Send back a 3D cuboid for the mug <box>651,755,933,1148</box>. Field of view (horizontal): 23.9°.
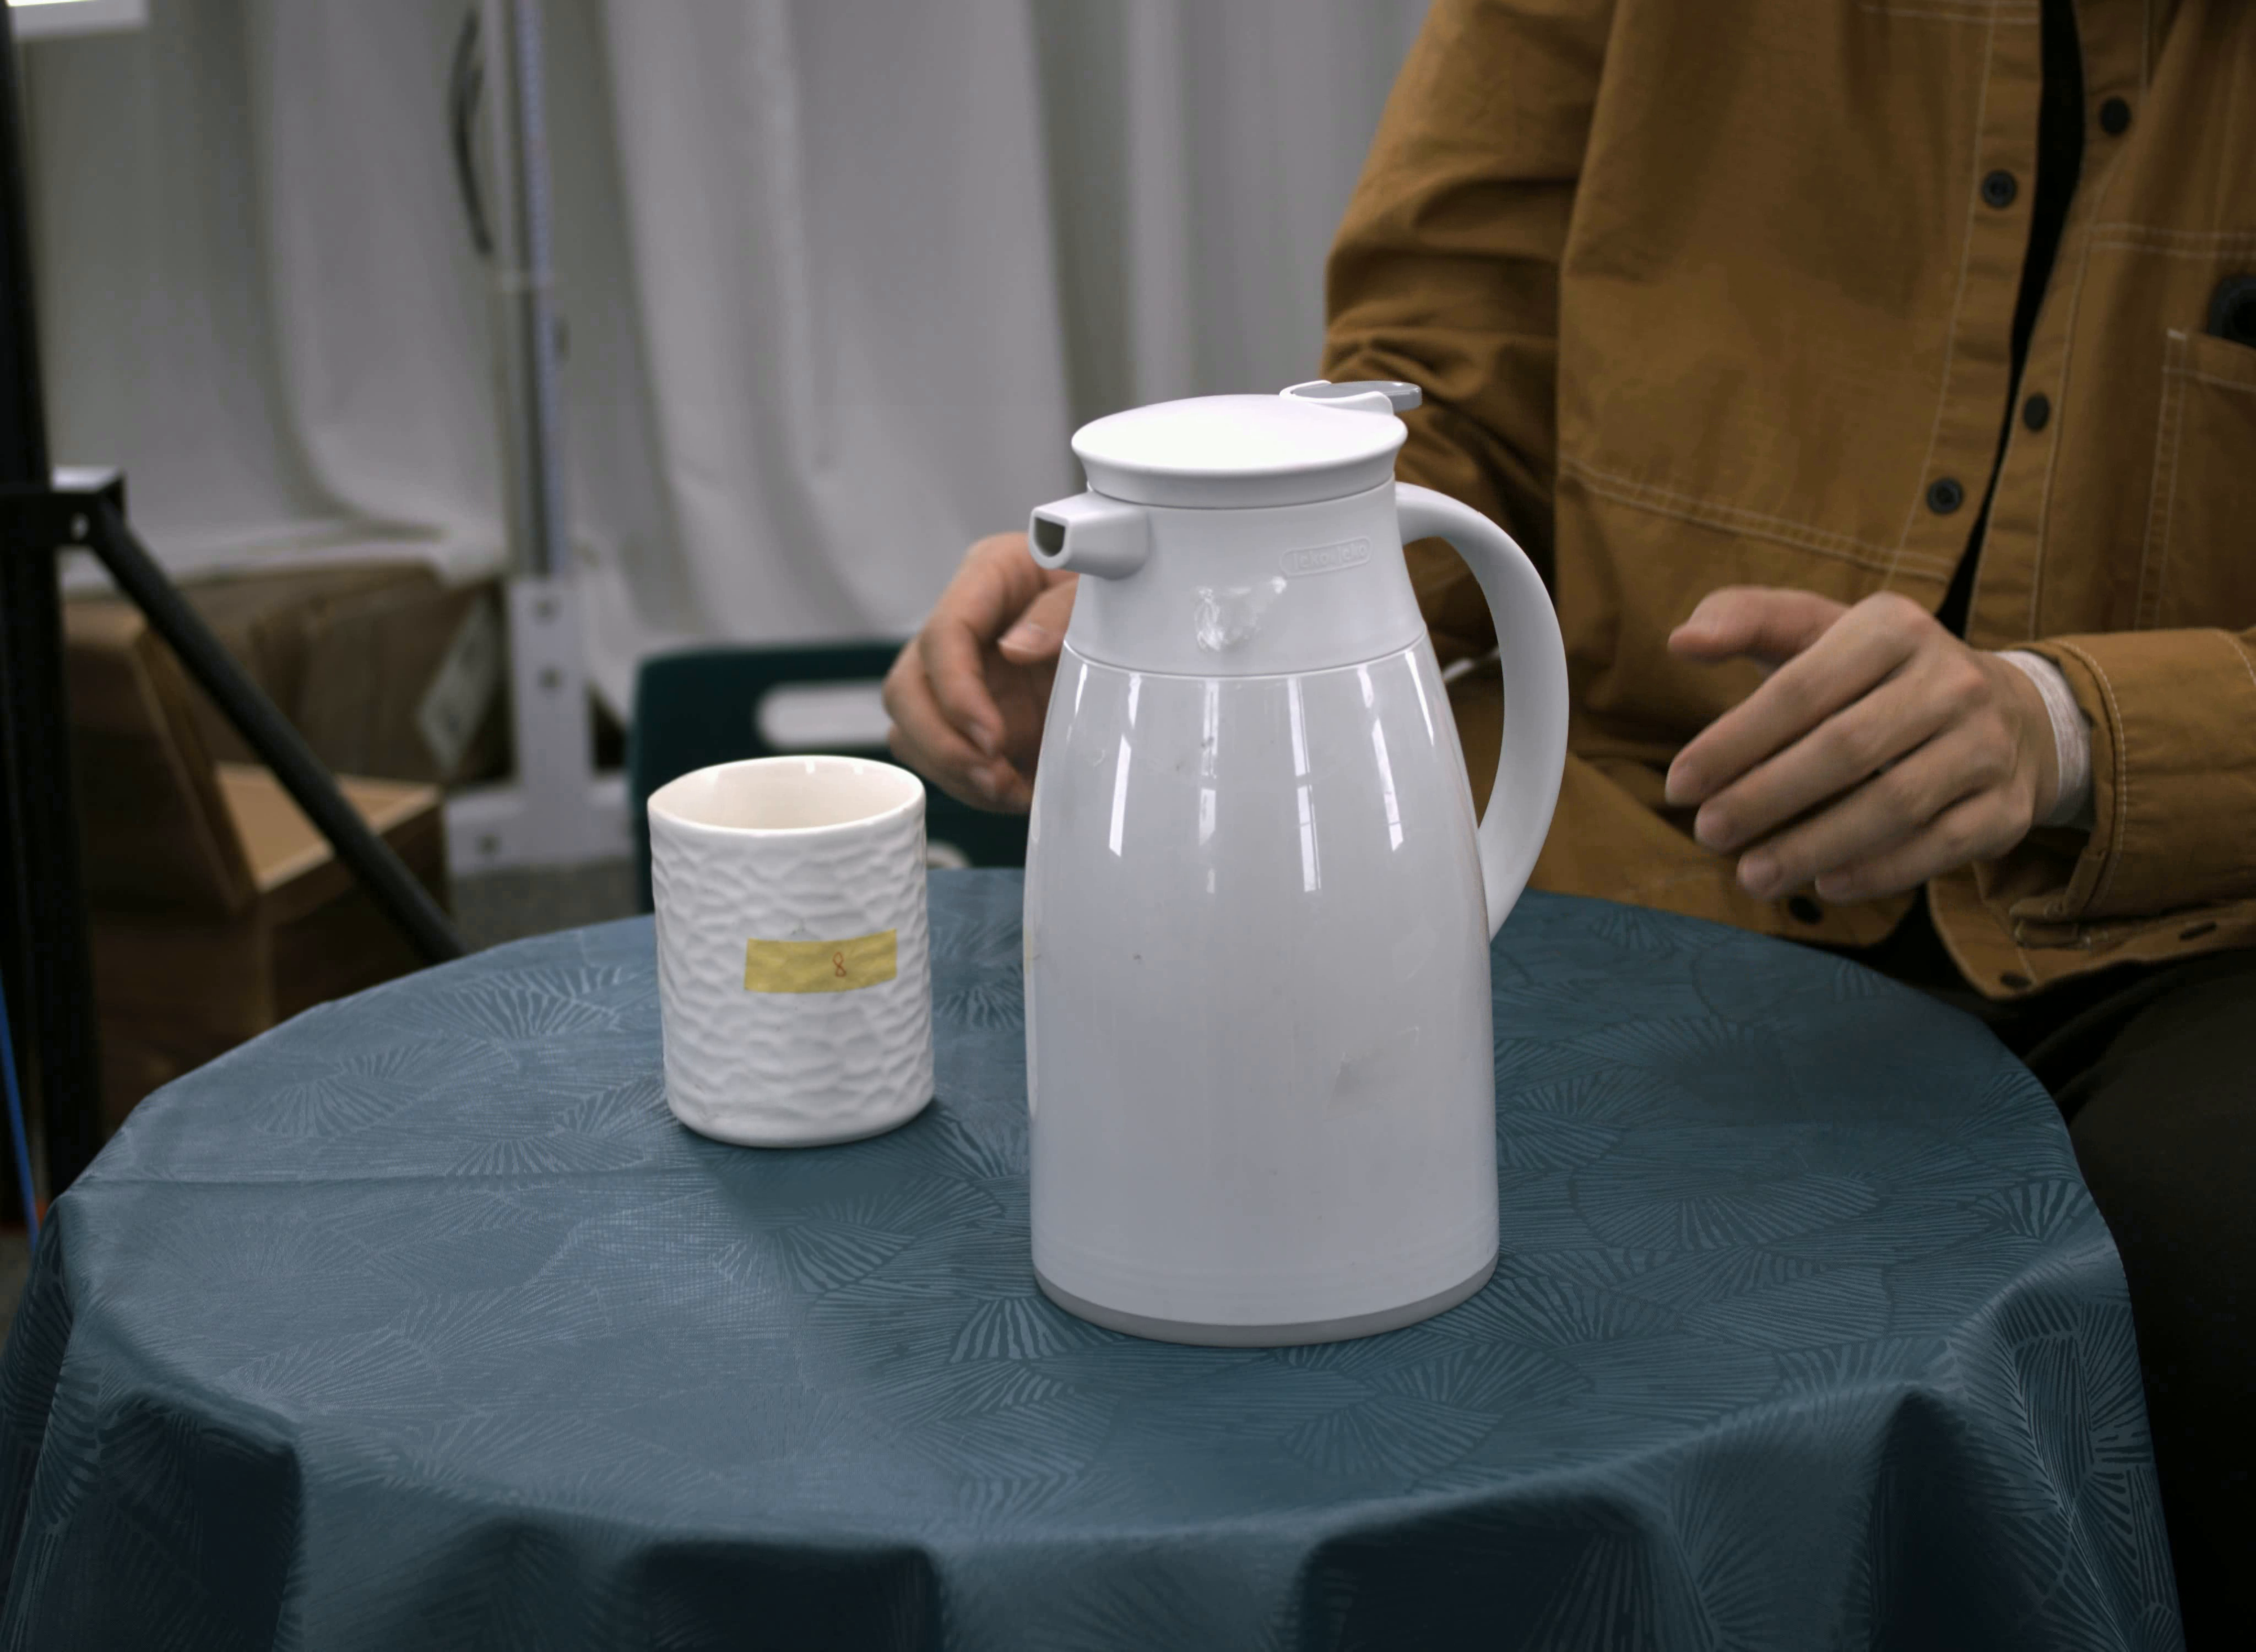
[{"bbox_3d":[-0.101,0.034,1.647,0.085,0.102,0.118,0,15,5],"label":"mug"}]

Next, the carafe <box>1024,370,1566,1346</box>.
[{"bbox_3d":[0.050,0.001,1.471,0.164,0.248,0.135,-11,17,-31],"label":"carafe"}]
